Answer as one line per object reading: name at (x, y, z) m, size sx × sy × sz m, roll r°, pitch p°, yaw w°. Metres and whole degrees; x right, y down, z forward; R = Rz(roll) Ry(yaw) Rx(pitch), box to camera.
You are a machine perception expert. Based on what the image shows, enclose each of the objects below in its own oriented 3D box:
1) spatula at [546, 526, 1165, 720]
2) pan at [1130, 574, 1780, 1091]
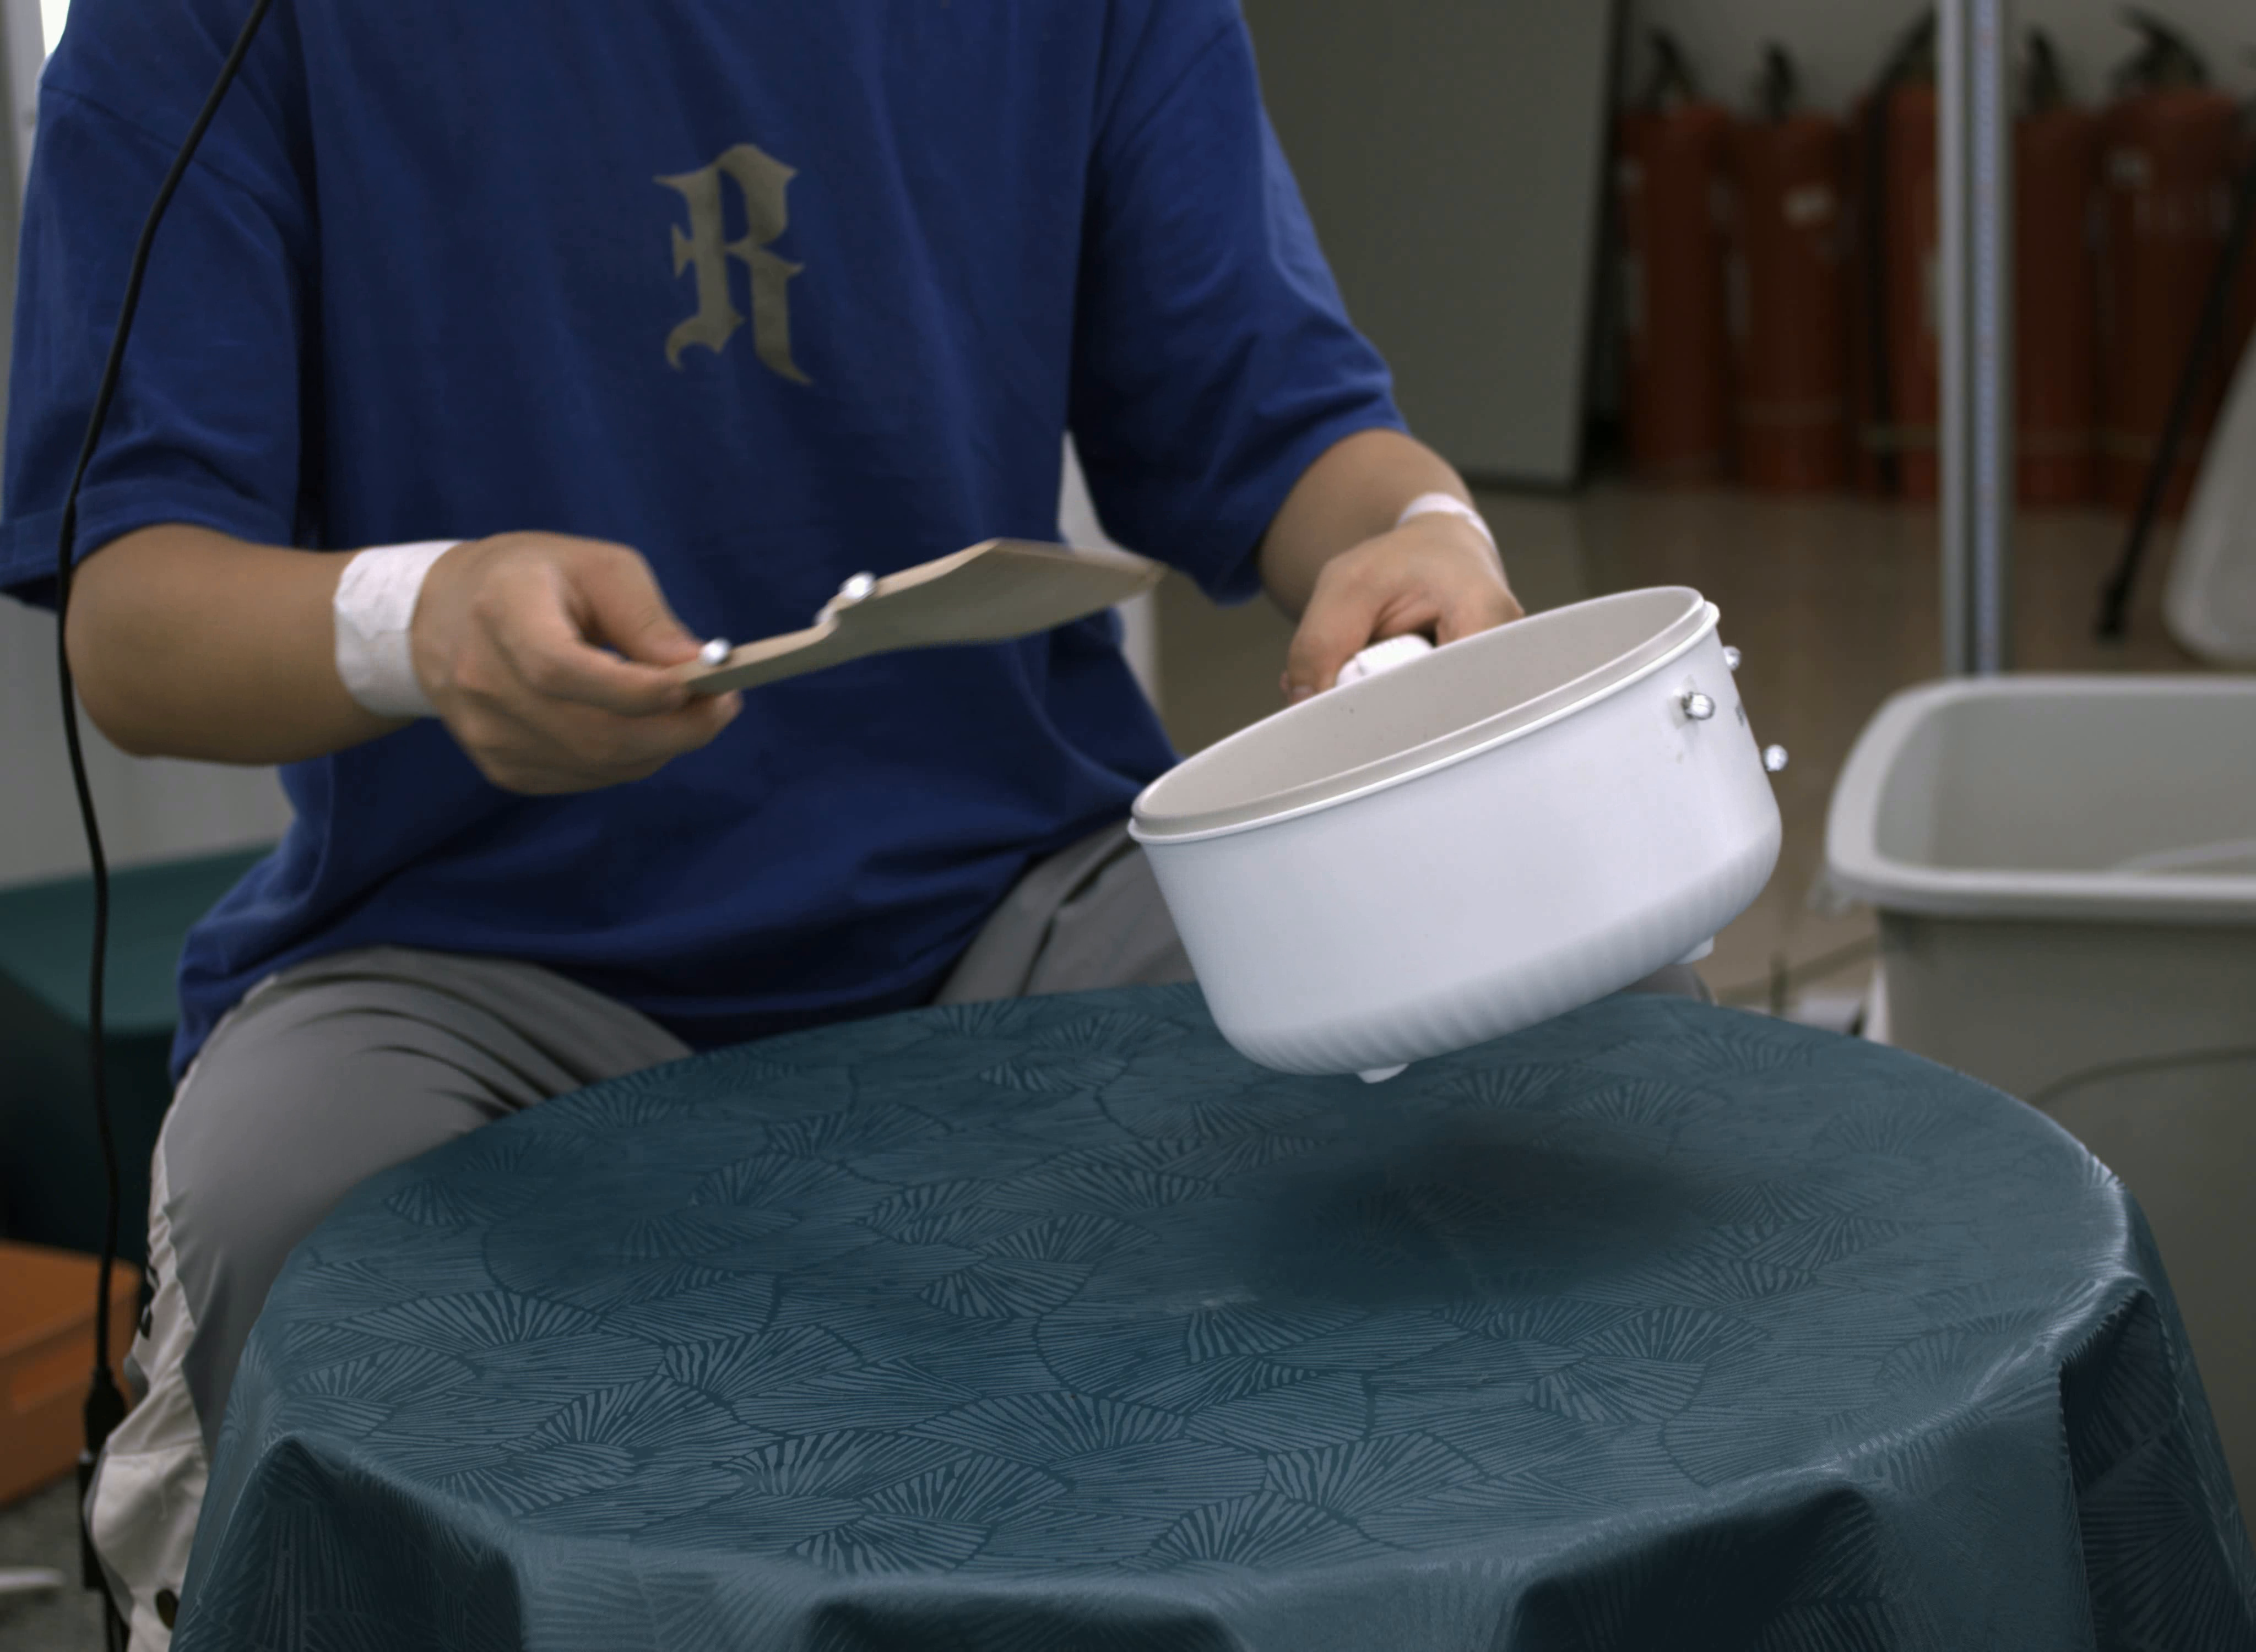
spatula at (-0.103, -0.061, 1.739) m, size 0.070 × 0.011 × 0.296 m, roll 6°, pitch -12°, yaw -37°
pan at (0.106, -0.004, 1.793) m, size 0.199 × 0.103 × 0.355 m, roll -24°, pitch 8°, yaw 2°
